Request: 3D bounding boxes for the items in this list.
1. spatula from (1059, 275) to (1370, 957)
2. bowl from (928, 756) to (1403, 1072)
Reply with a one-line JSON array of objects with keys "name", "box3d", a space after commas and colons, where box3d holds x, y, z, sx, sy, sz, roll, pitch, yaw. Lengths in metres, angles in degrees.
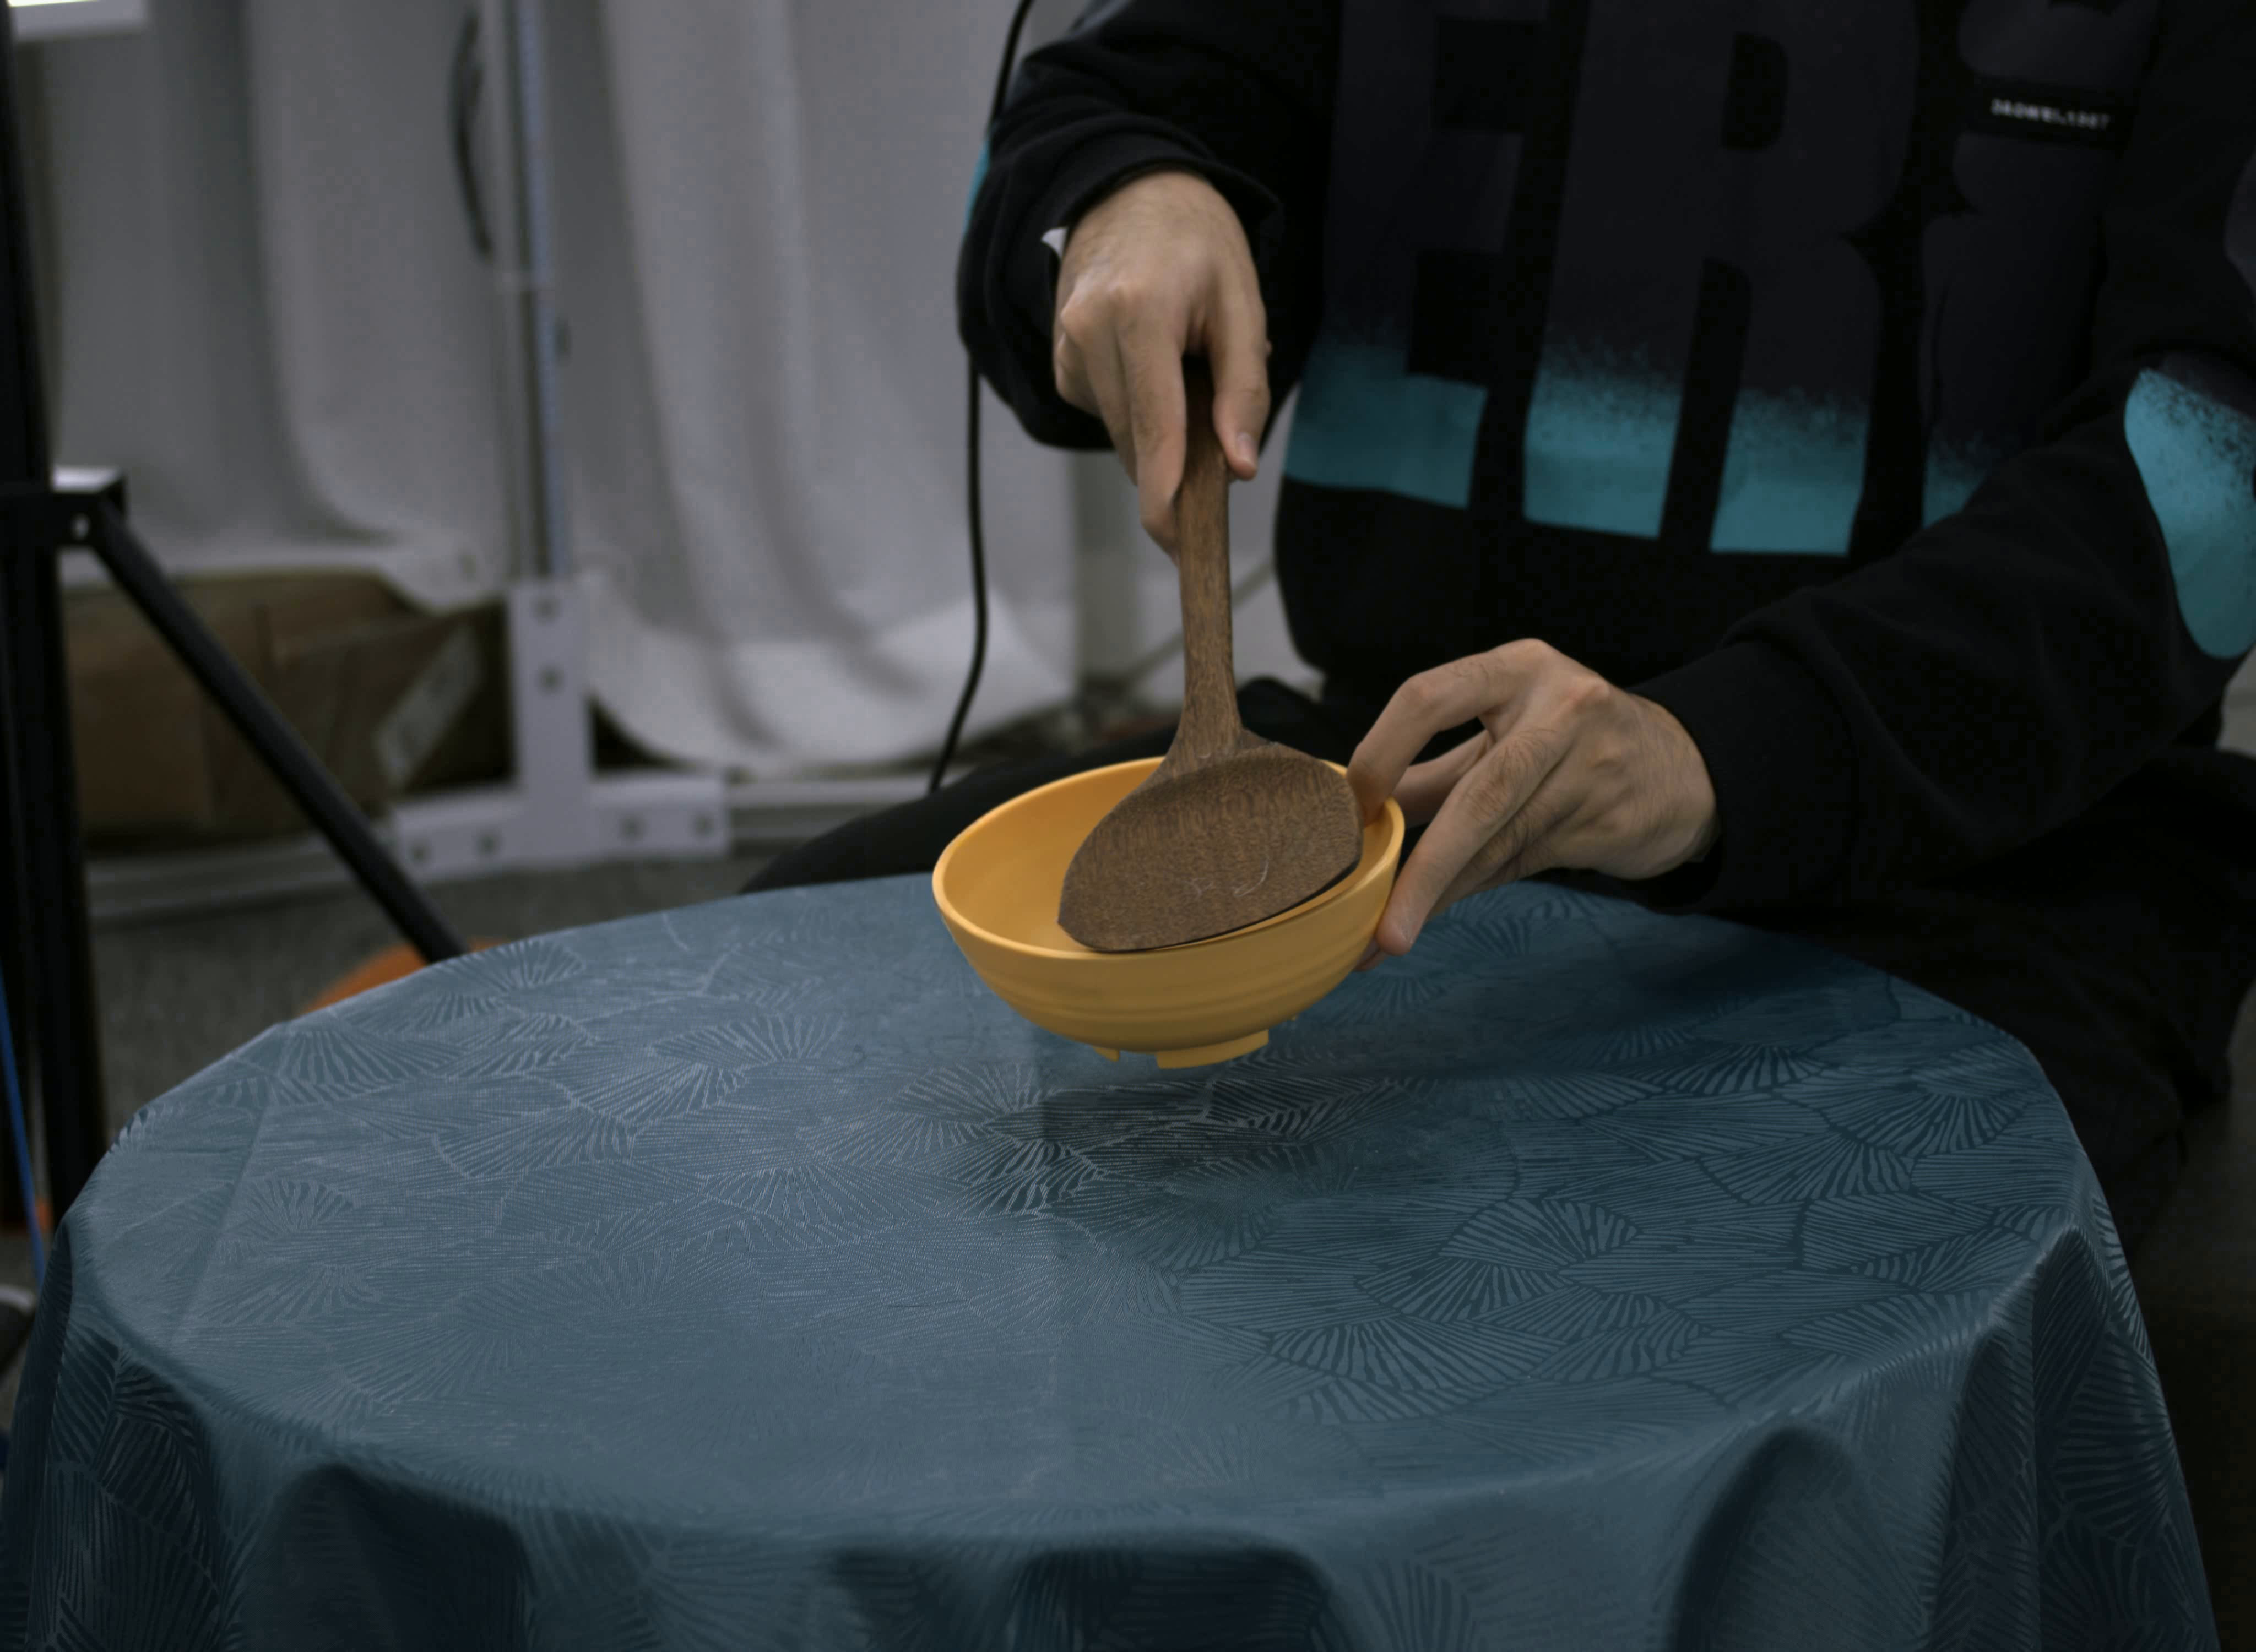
[{"name": "spatula", "box3d": [0.024, -0.078, 1.695, 0.096, 0.015, 0.389, -17, 34, 11]}, {"name": "bowl", "box3d": [0.013, 0.035, 1.620, 0.145, 0.060, 0.146, -5, 24, 1]}]
